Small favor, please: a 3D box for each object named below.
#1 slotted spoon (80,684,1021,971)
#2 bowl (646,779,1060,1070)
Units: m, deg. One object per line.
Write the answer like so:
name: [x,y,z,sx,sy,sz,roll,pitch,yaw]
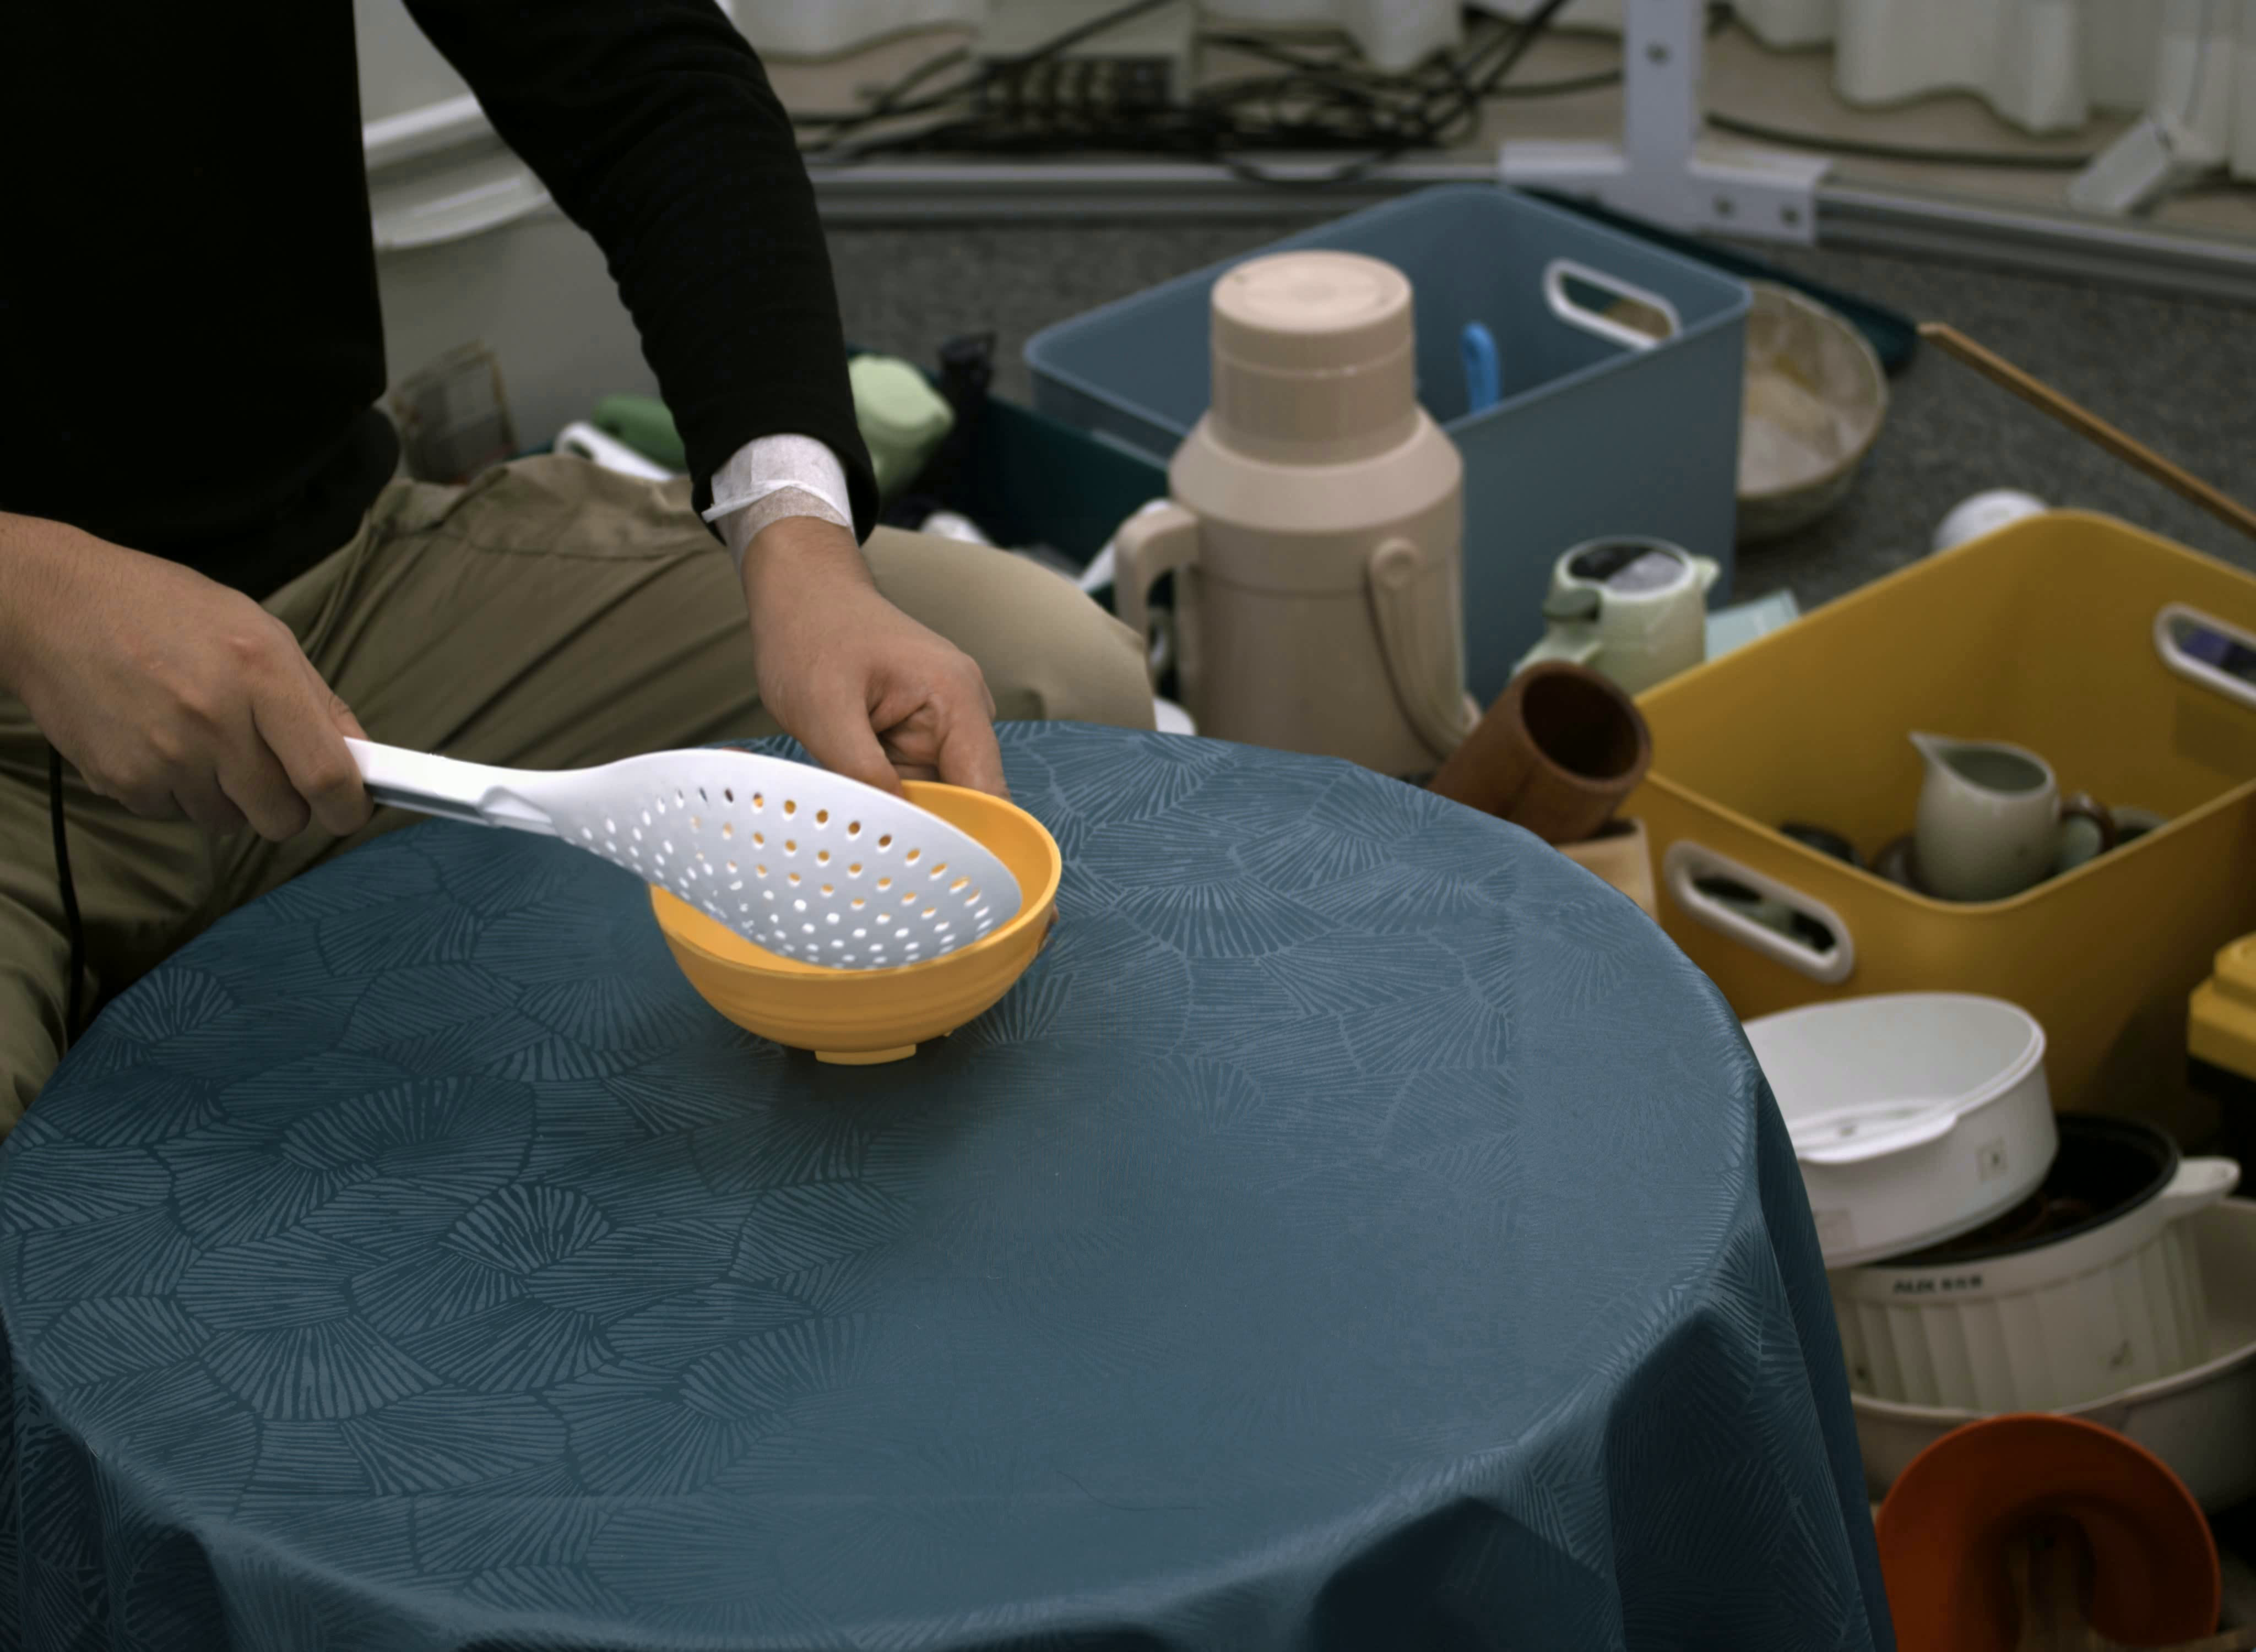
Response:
slotted spoon: [-0.200,-0.008,1.891,0.348,0.134,0.046,16,70,22]
bowl: [-0.095,0.043,1.962,0.144,0.059,0.147,0,28,0]
